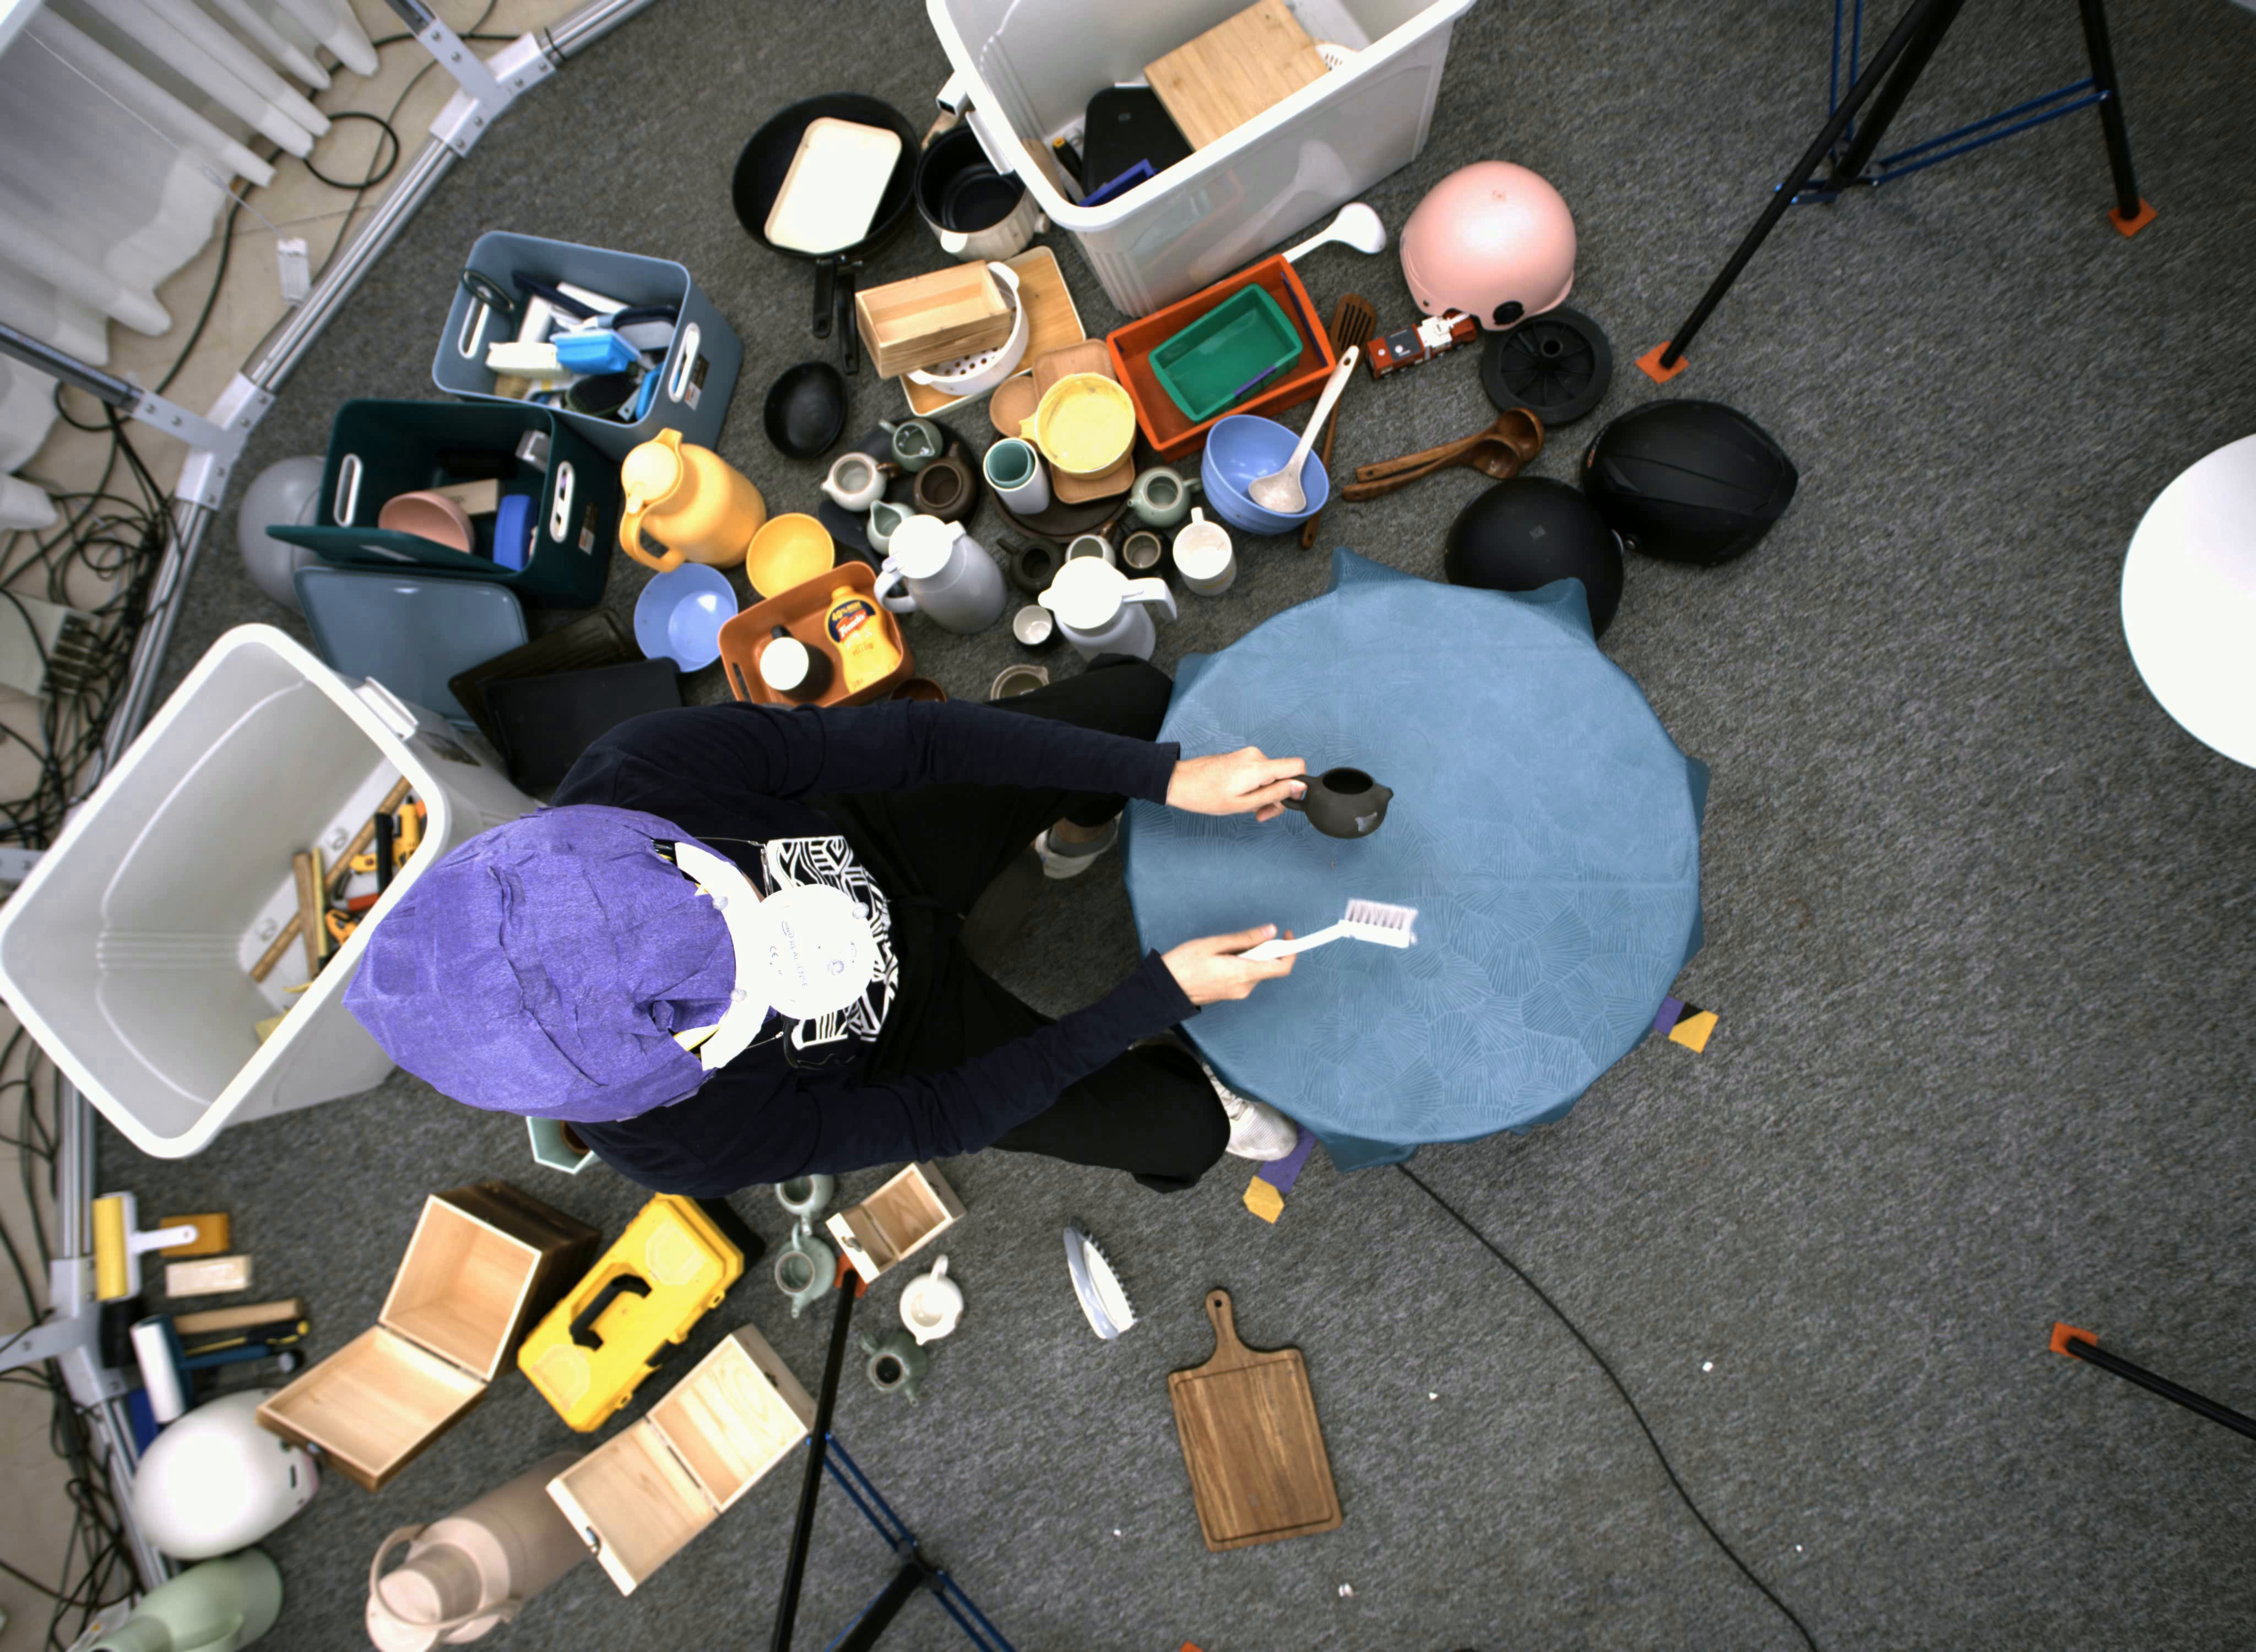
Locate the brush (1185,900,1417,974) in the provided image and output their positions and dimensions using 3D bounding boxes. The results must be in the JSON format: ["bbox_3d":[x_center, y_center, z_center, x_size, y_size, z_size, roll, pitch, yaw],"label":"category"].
[{"bbox_3d":[0.168,0.108,1.382,0.246,0.034,0.050,-11,83,23],"label":"brush"}]

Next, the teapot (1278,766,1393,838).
[{"bbox_3d":[0.205,-0.027,1.372,0.114,0.081,0.054,10,127,16],"label":"teapot"}]
